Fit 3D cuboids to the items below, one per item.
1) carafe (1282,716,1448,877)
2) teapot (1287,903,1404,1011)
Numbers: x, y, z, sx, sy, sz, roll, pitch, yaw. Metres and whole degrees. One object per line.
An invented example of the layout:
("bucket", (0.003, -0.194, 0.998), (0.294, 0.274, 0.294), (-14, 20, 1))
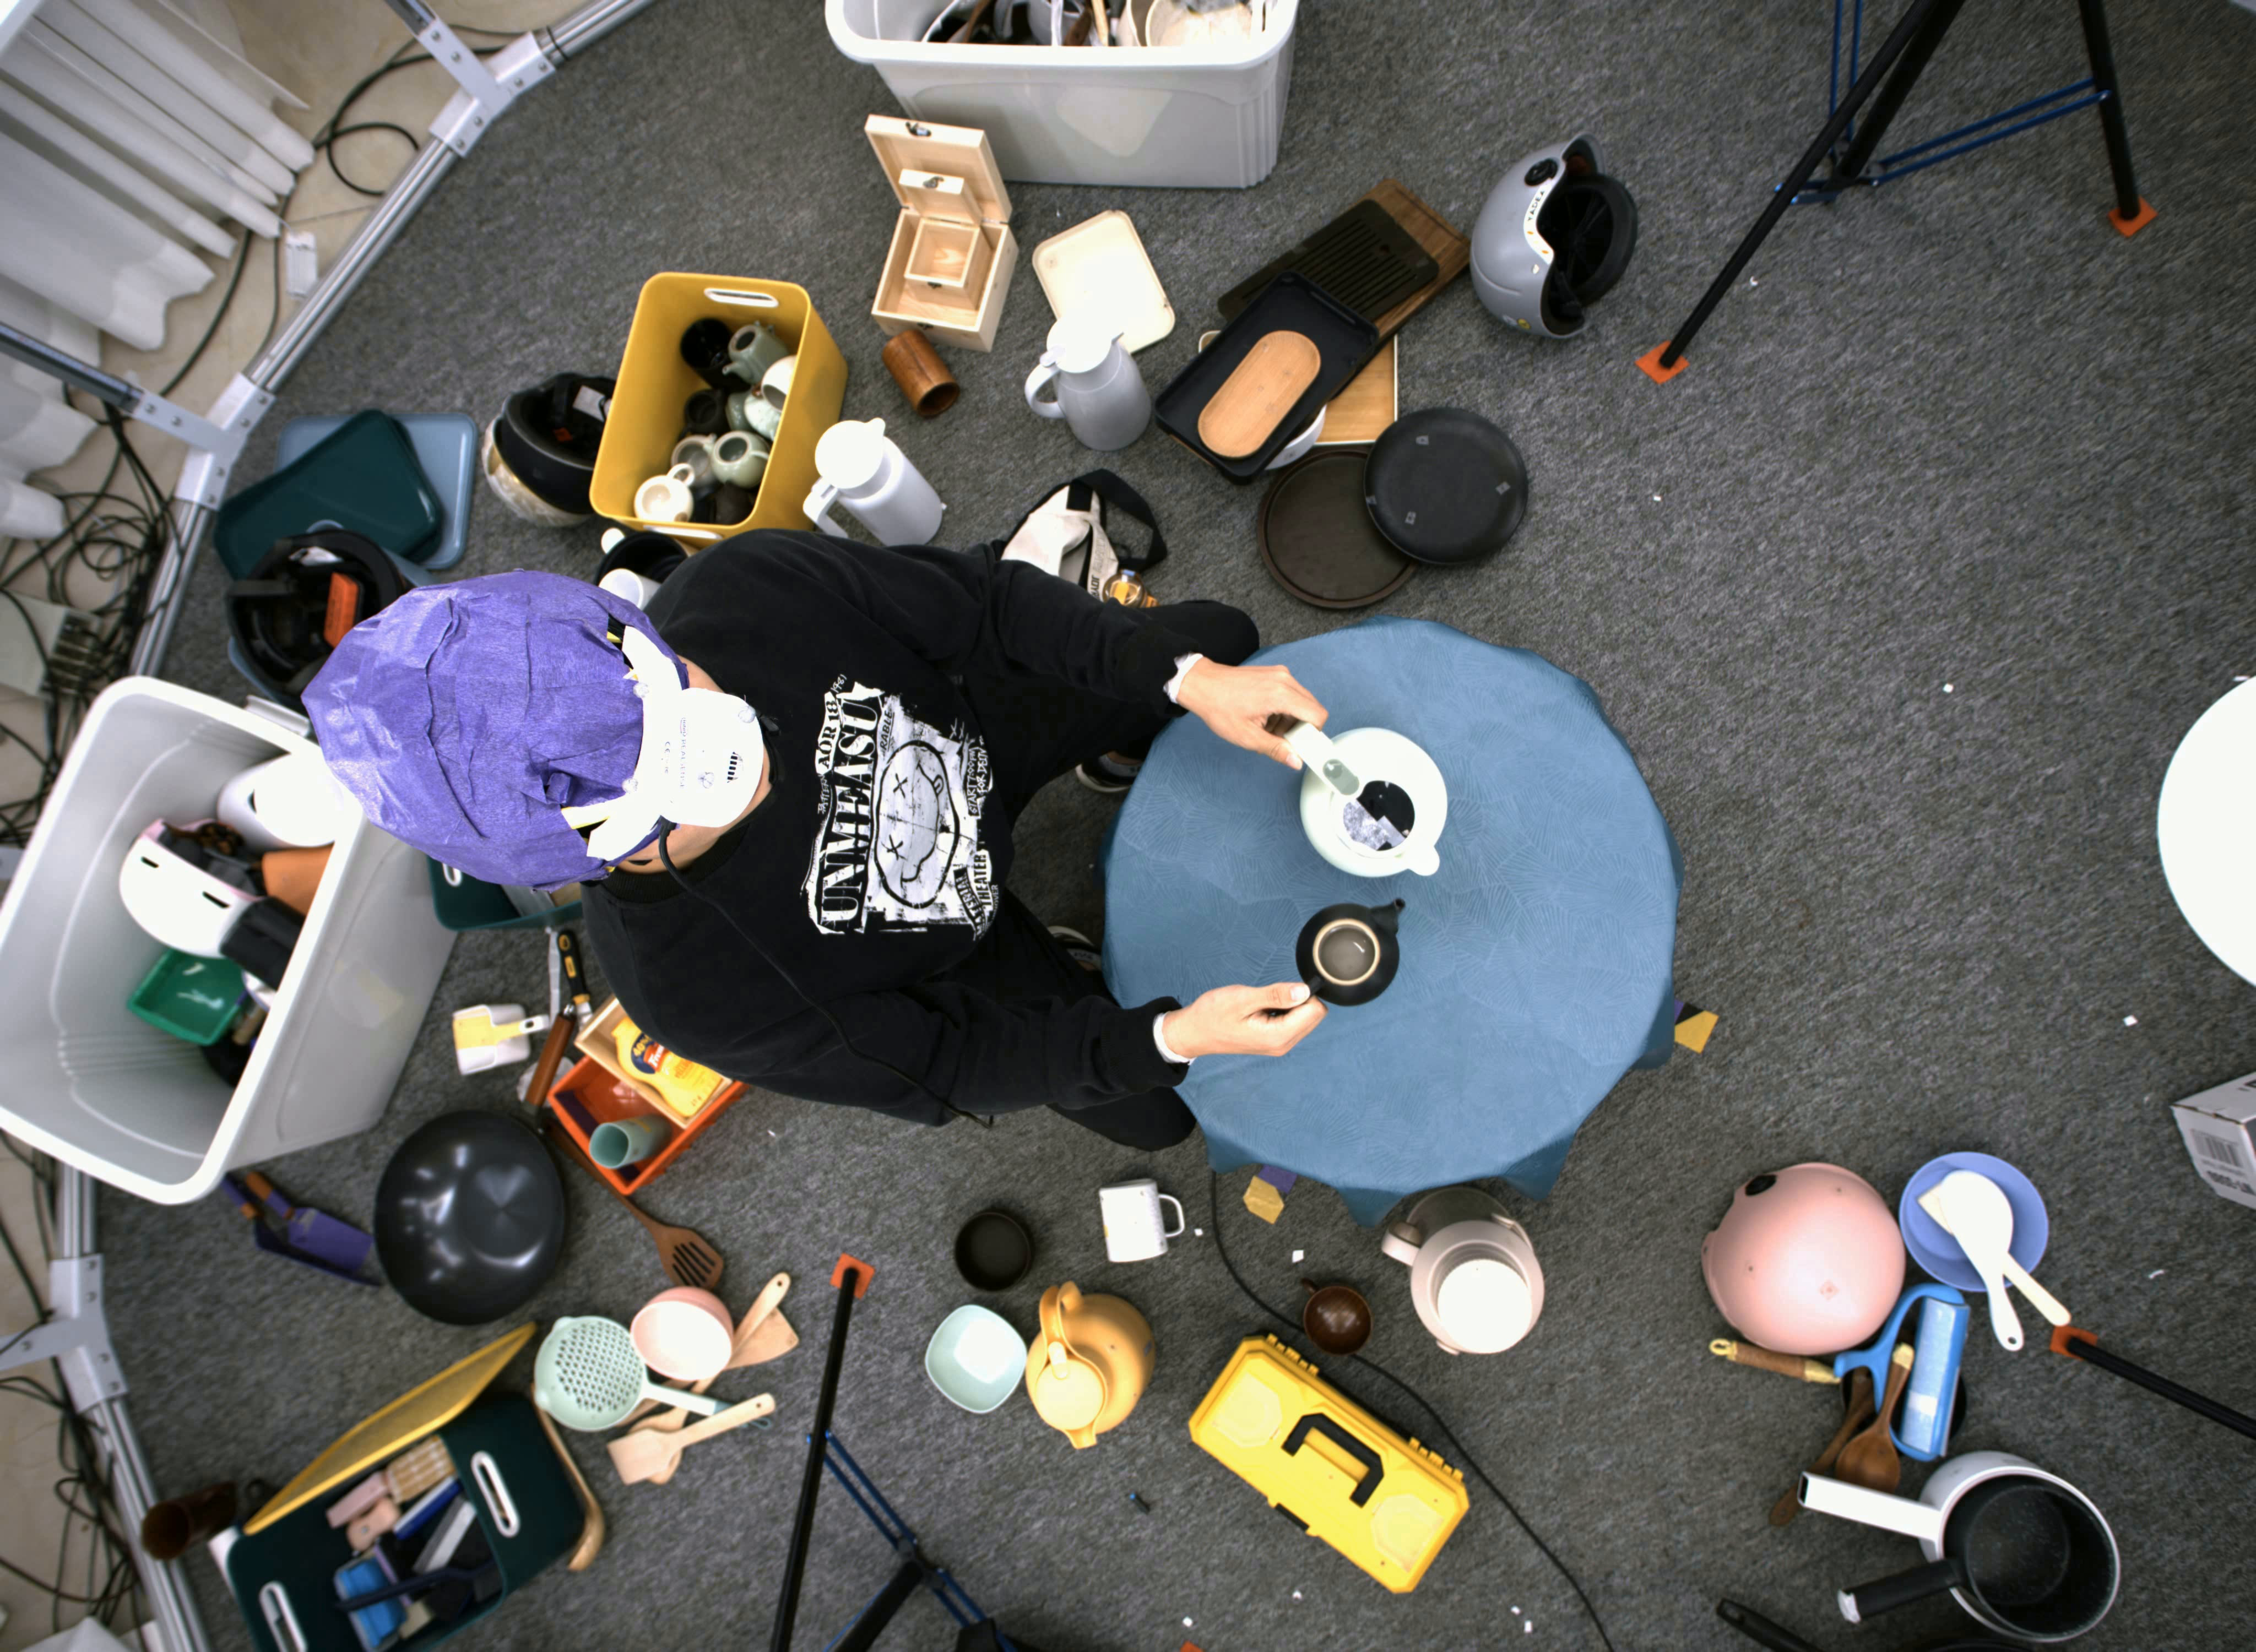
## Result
("carafe", (0.228, -0.033, 1.336), (0.186, 0.254, 0.146), (45, 102, 5))
("teapot", (0.192, 0.115, 1.218), (0.133, 0.053, 0.090), (-43, 76, 4))
